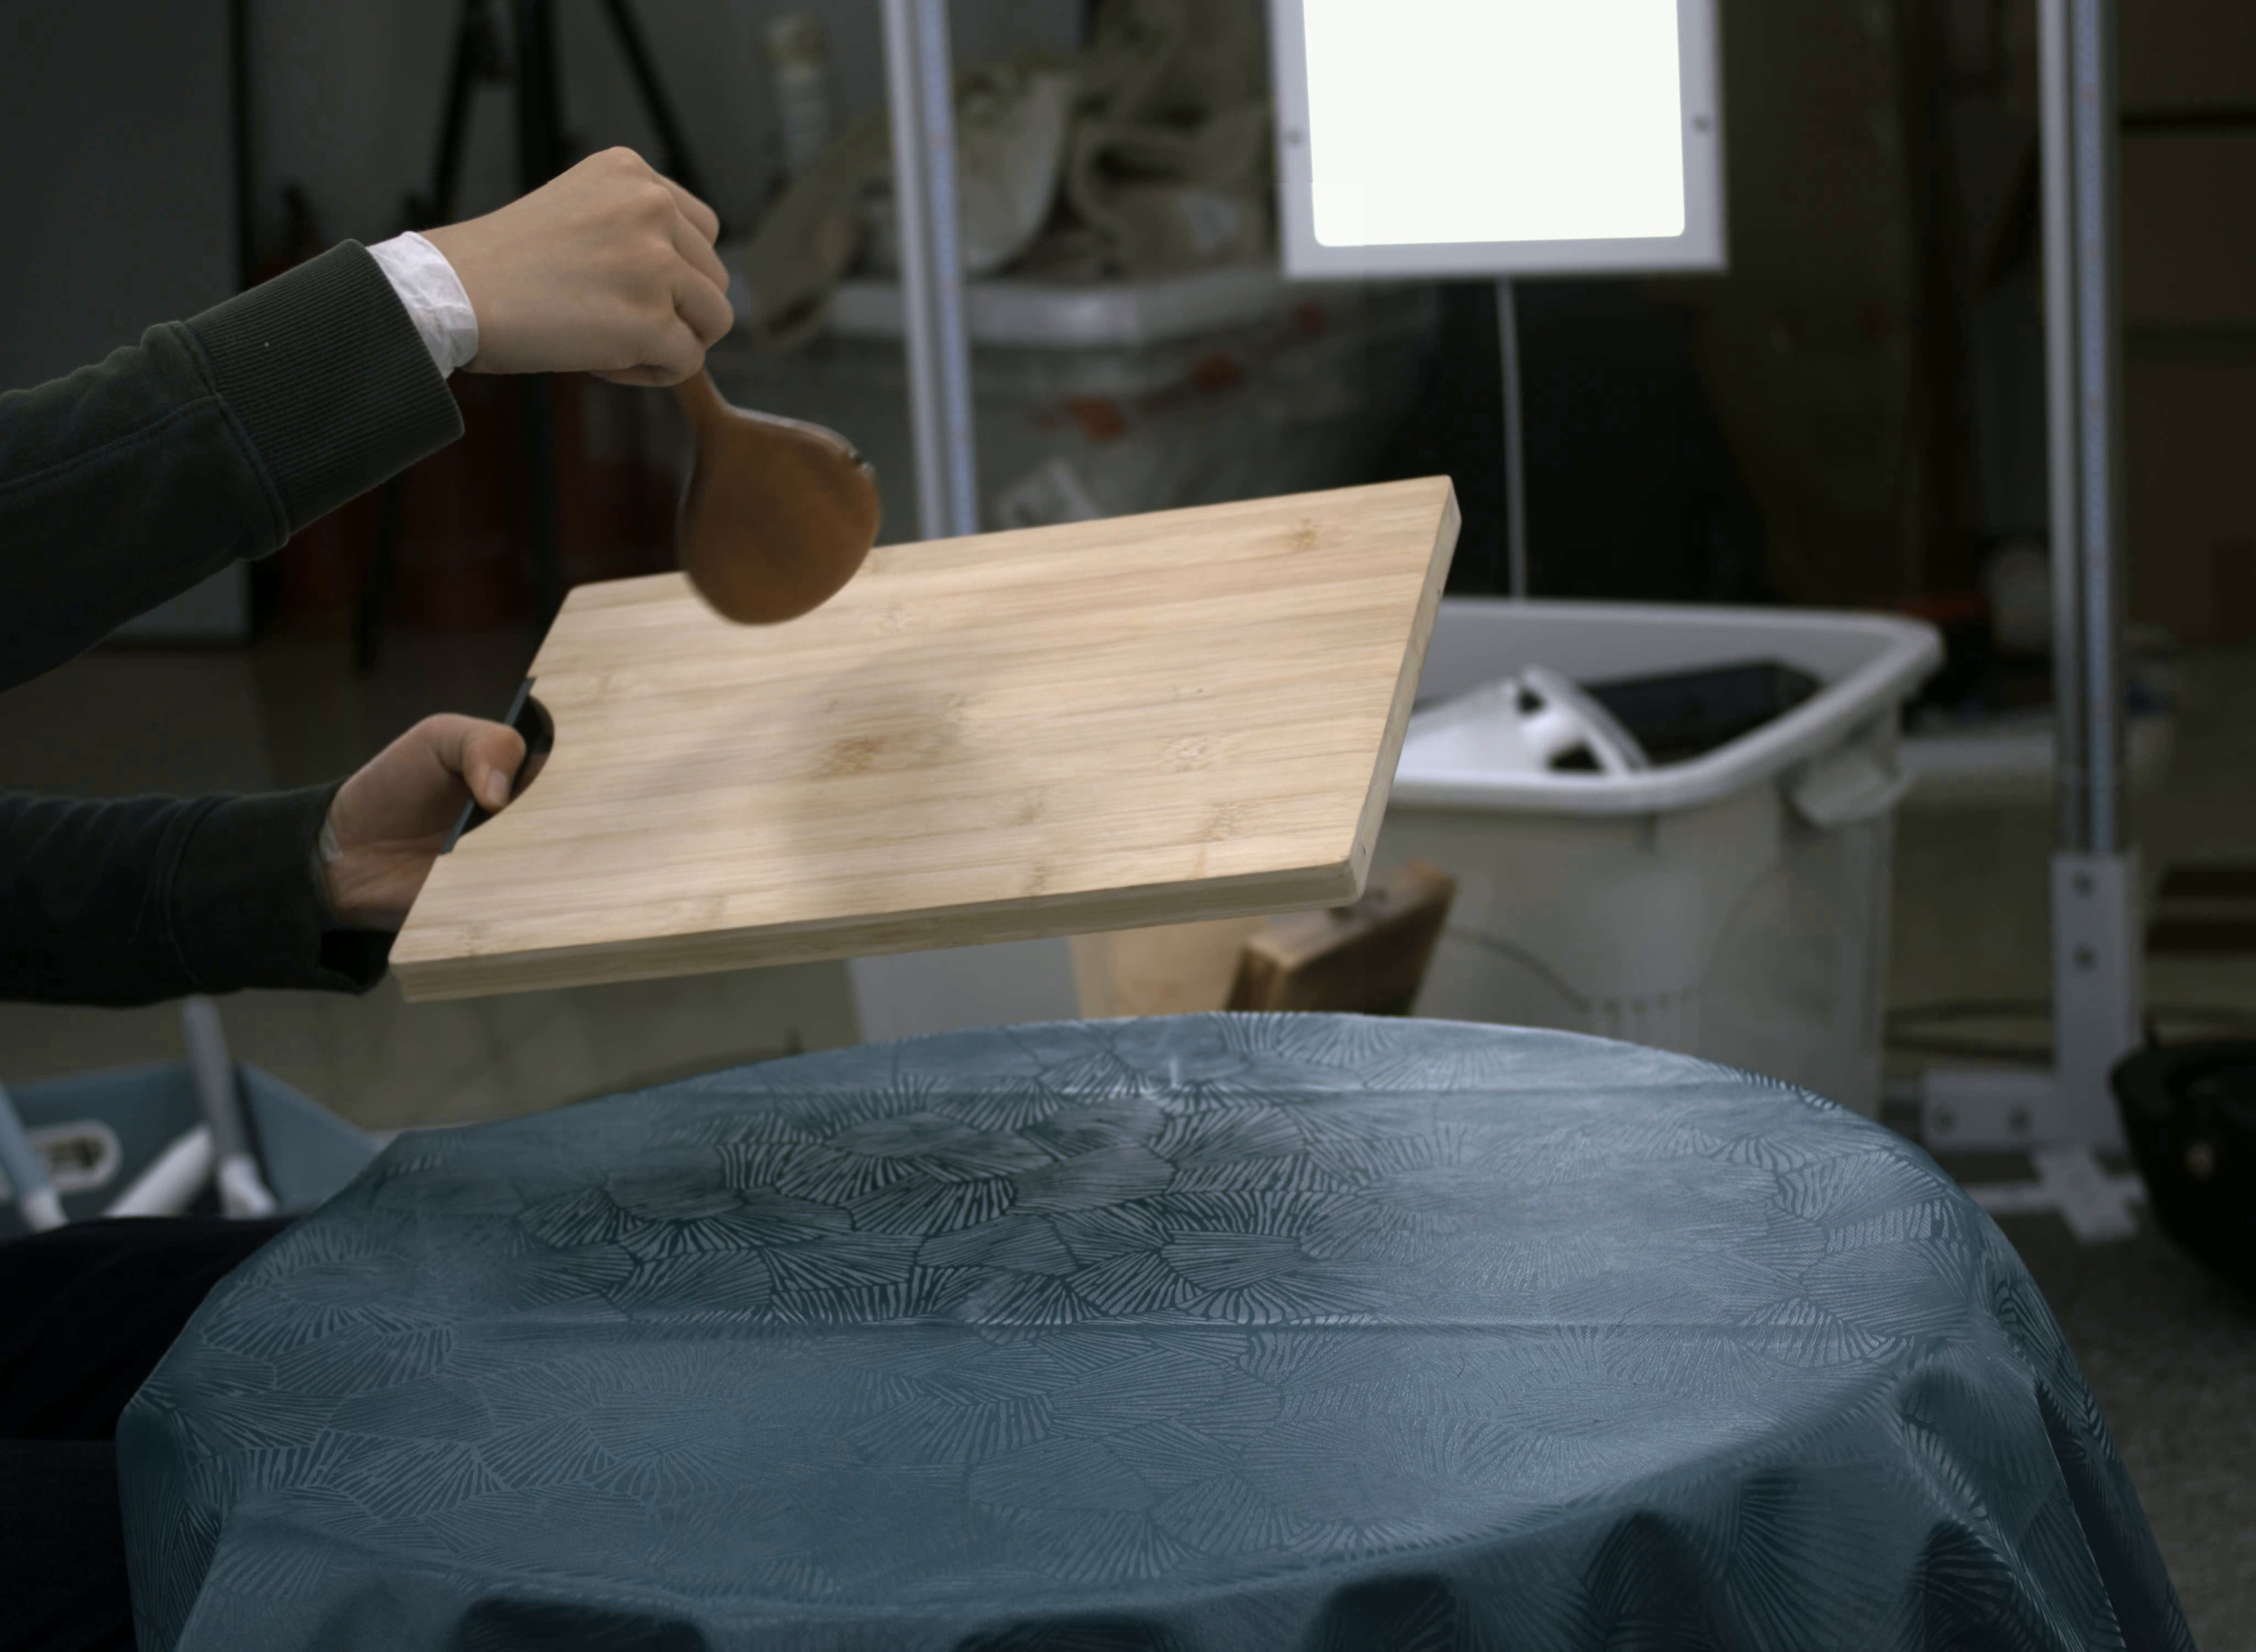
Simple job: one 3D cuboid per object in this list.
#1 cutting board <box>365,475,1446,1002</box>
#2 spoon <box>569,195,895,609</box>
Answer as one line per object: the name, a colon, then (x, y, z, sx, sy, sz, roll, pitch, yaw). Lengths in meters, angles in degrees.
cutting board: (-0.072, -0.031, 1.908, 0.353, 0.023, 0.248, -7, 32, 18)
spoon: (-0.136, -0.138, 1.844, 0.075, 0.214, 0.017, -32, 51, 1)
